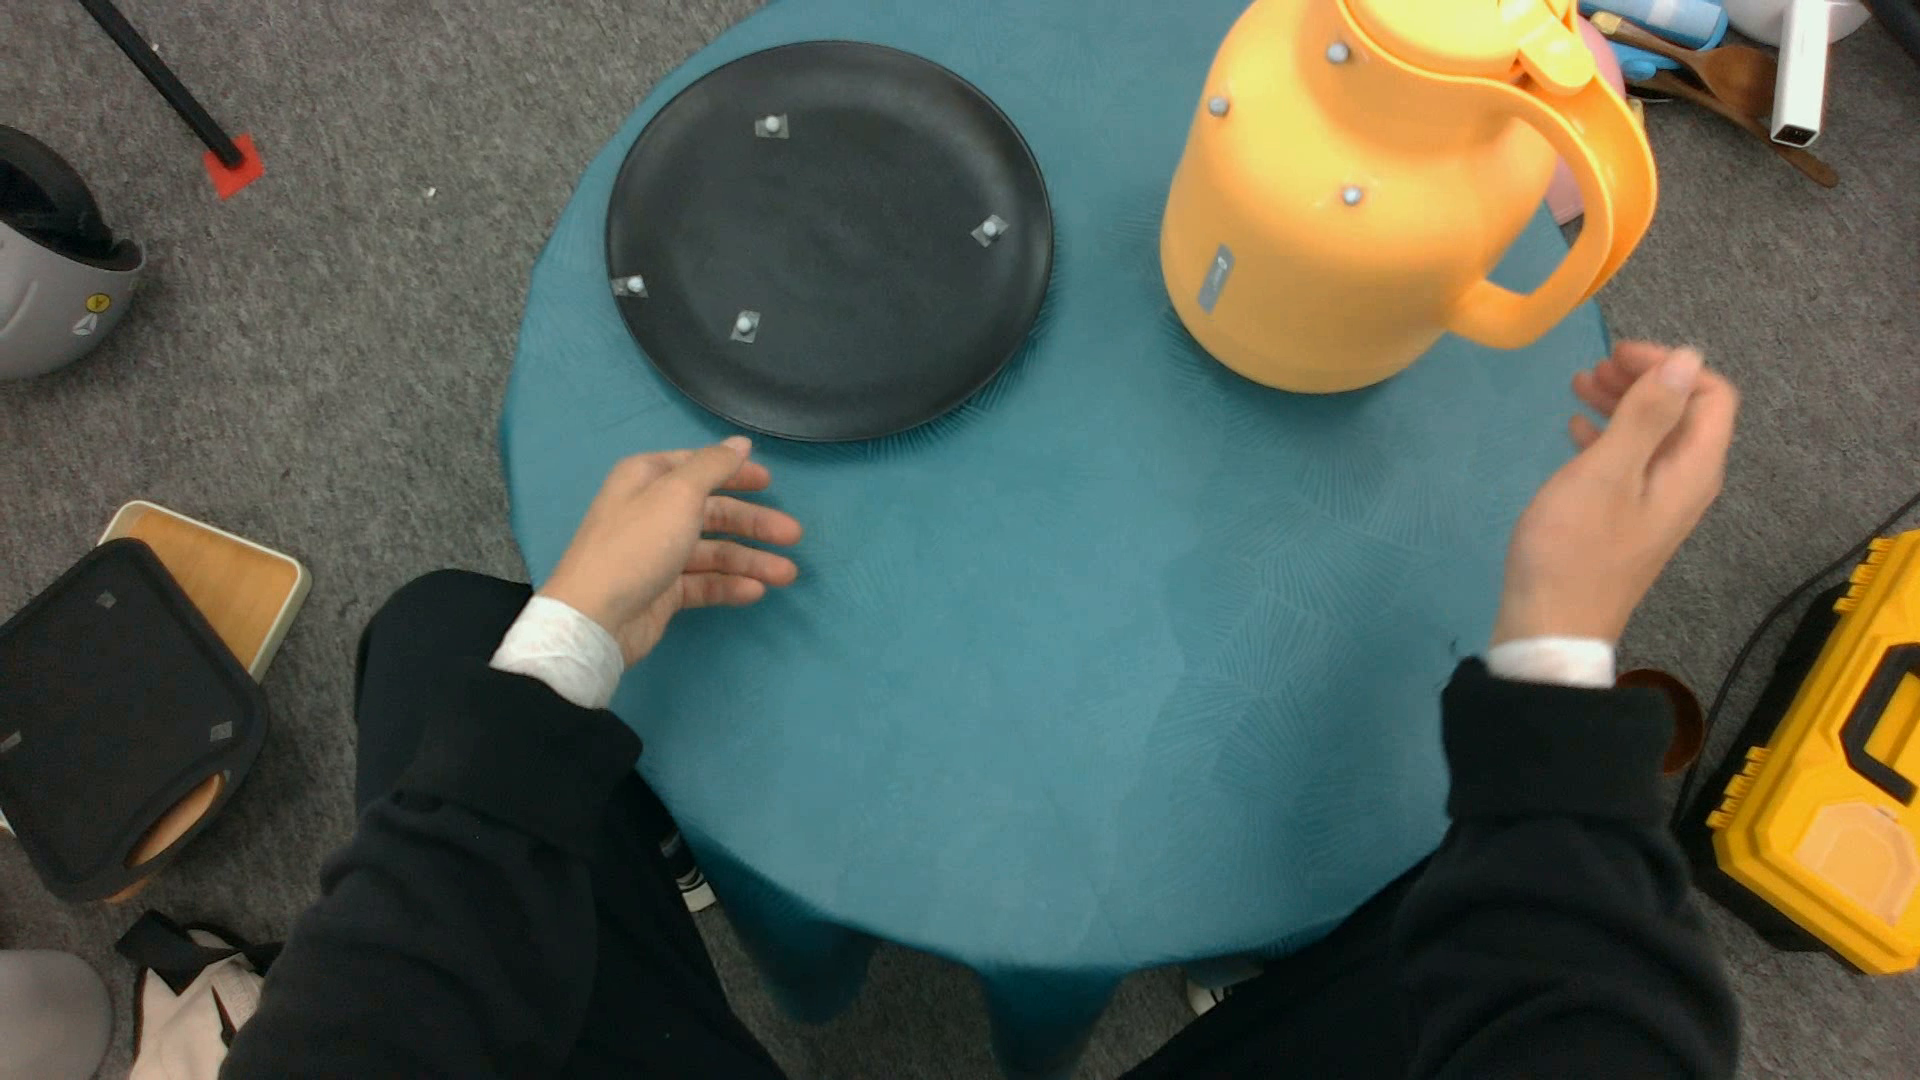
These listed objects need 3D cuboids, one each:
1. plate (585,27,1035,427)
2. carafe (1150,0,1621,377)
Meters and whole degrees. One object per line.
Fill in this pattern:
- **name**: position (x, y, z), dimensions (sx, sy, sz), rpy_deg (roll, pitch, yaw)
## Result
- **plate**: position (-0.081, -0.172, 0.754), dimensions (0.244, 0.023, 0.245), rpy_deg (1, 72, -2)
- **carafe**: position (0.192, -0.177, 0.641), dimensions (0.163, 0.259, 0.202), rpy_deg (-35, 75, -9)
